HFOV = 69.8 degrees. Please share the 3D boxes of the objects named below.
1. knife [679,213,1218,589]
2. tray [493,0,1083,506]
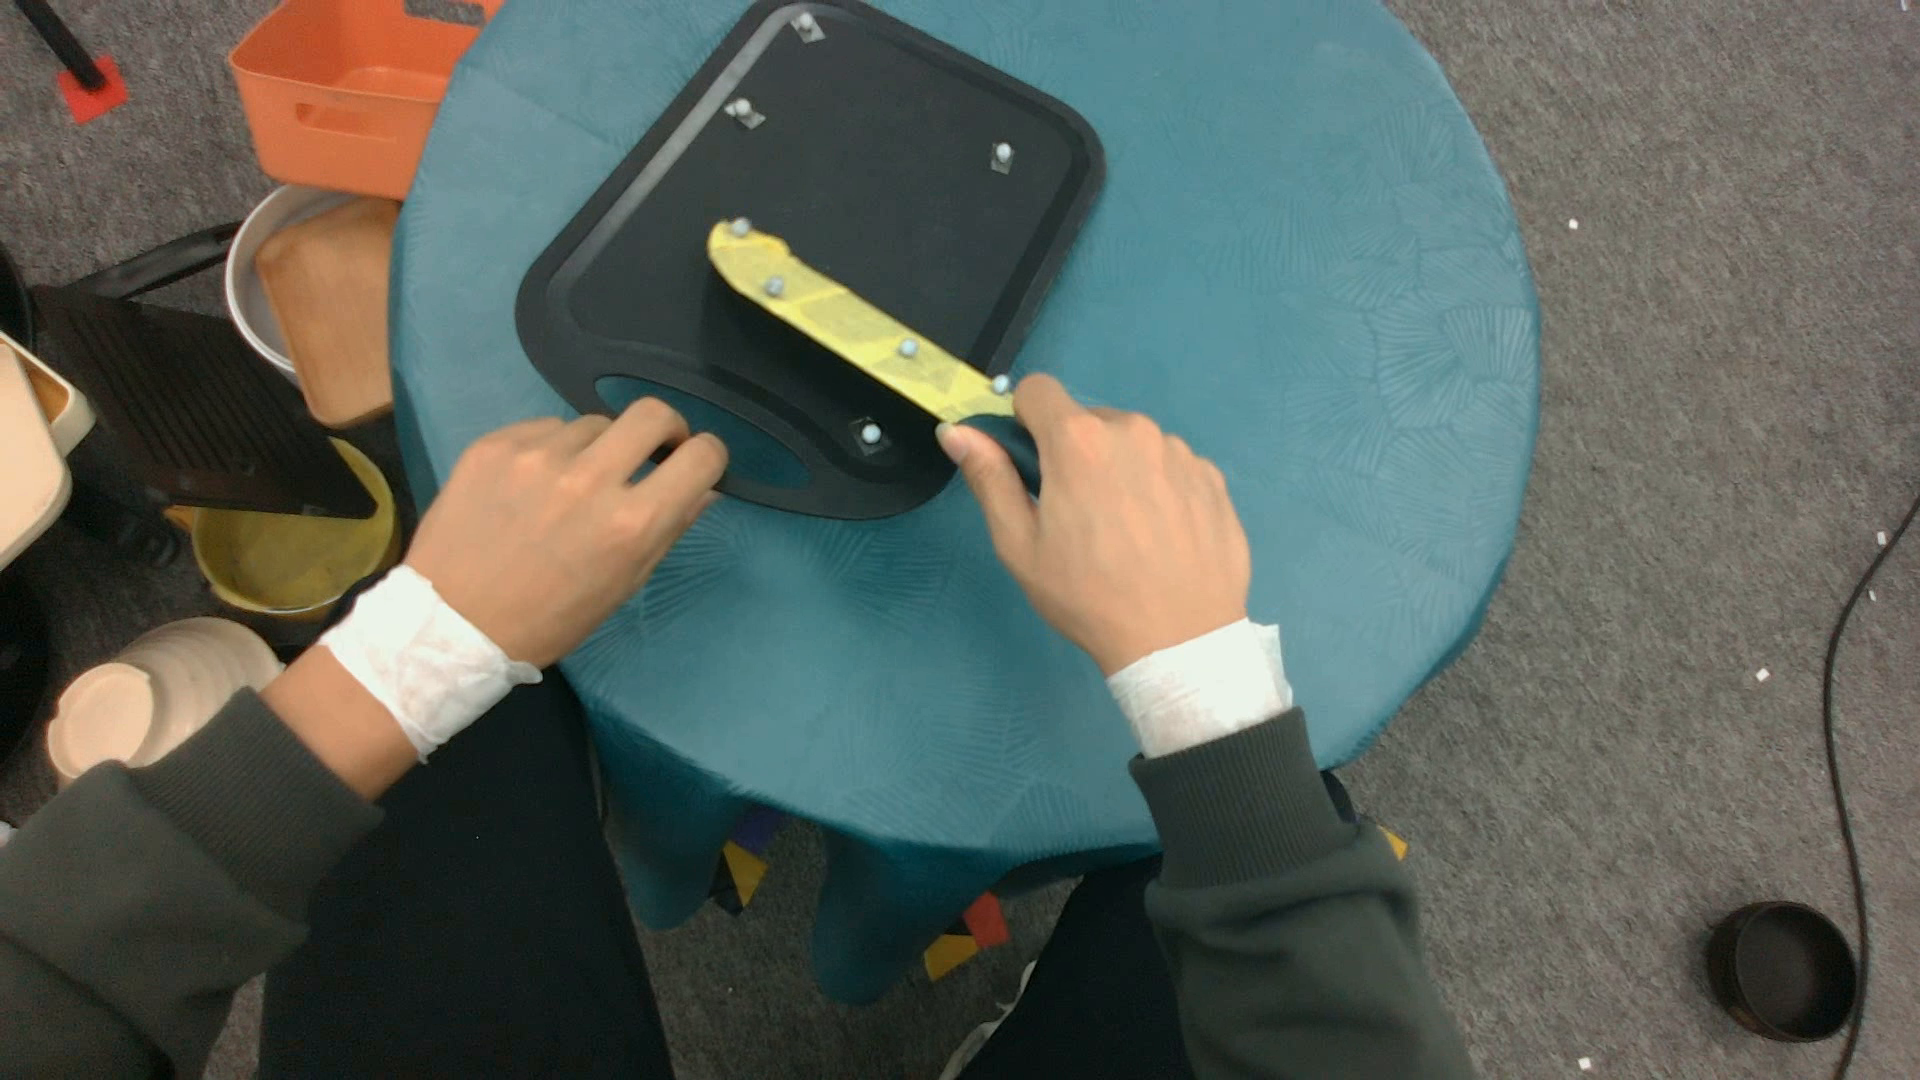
[{"bbox_3d":[-0.009,-0.069,0.606,0.289,0.027,0.081,35,27,9],"label":"knife"},{"bbox_3d":[-0.071,-0.155,0.666,0.211,0.010,0.327,26,55,0],"label":"tray"}]
